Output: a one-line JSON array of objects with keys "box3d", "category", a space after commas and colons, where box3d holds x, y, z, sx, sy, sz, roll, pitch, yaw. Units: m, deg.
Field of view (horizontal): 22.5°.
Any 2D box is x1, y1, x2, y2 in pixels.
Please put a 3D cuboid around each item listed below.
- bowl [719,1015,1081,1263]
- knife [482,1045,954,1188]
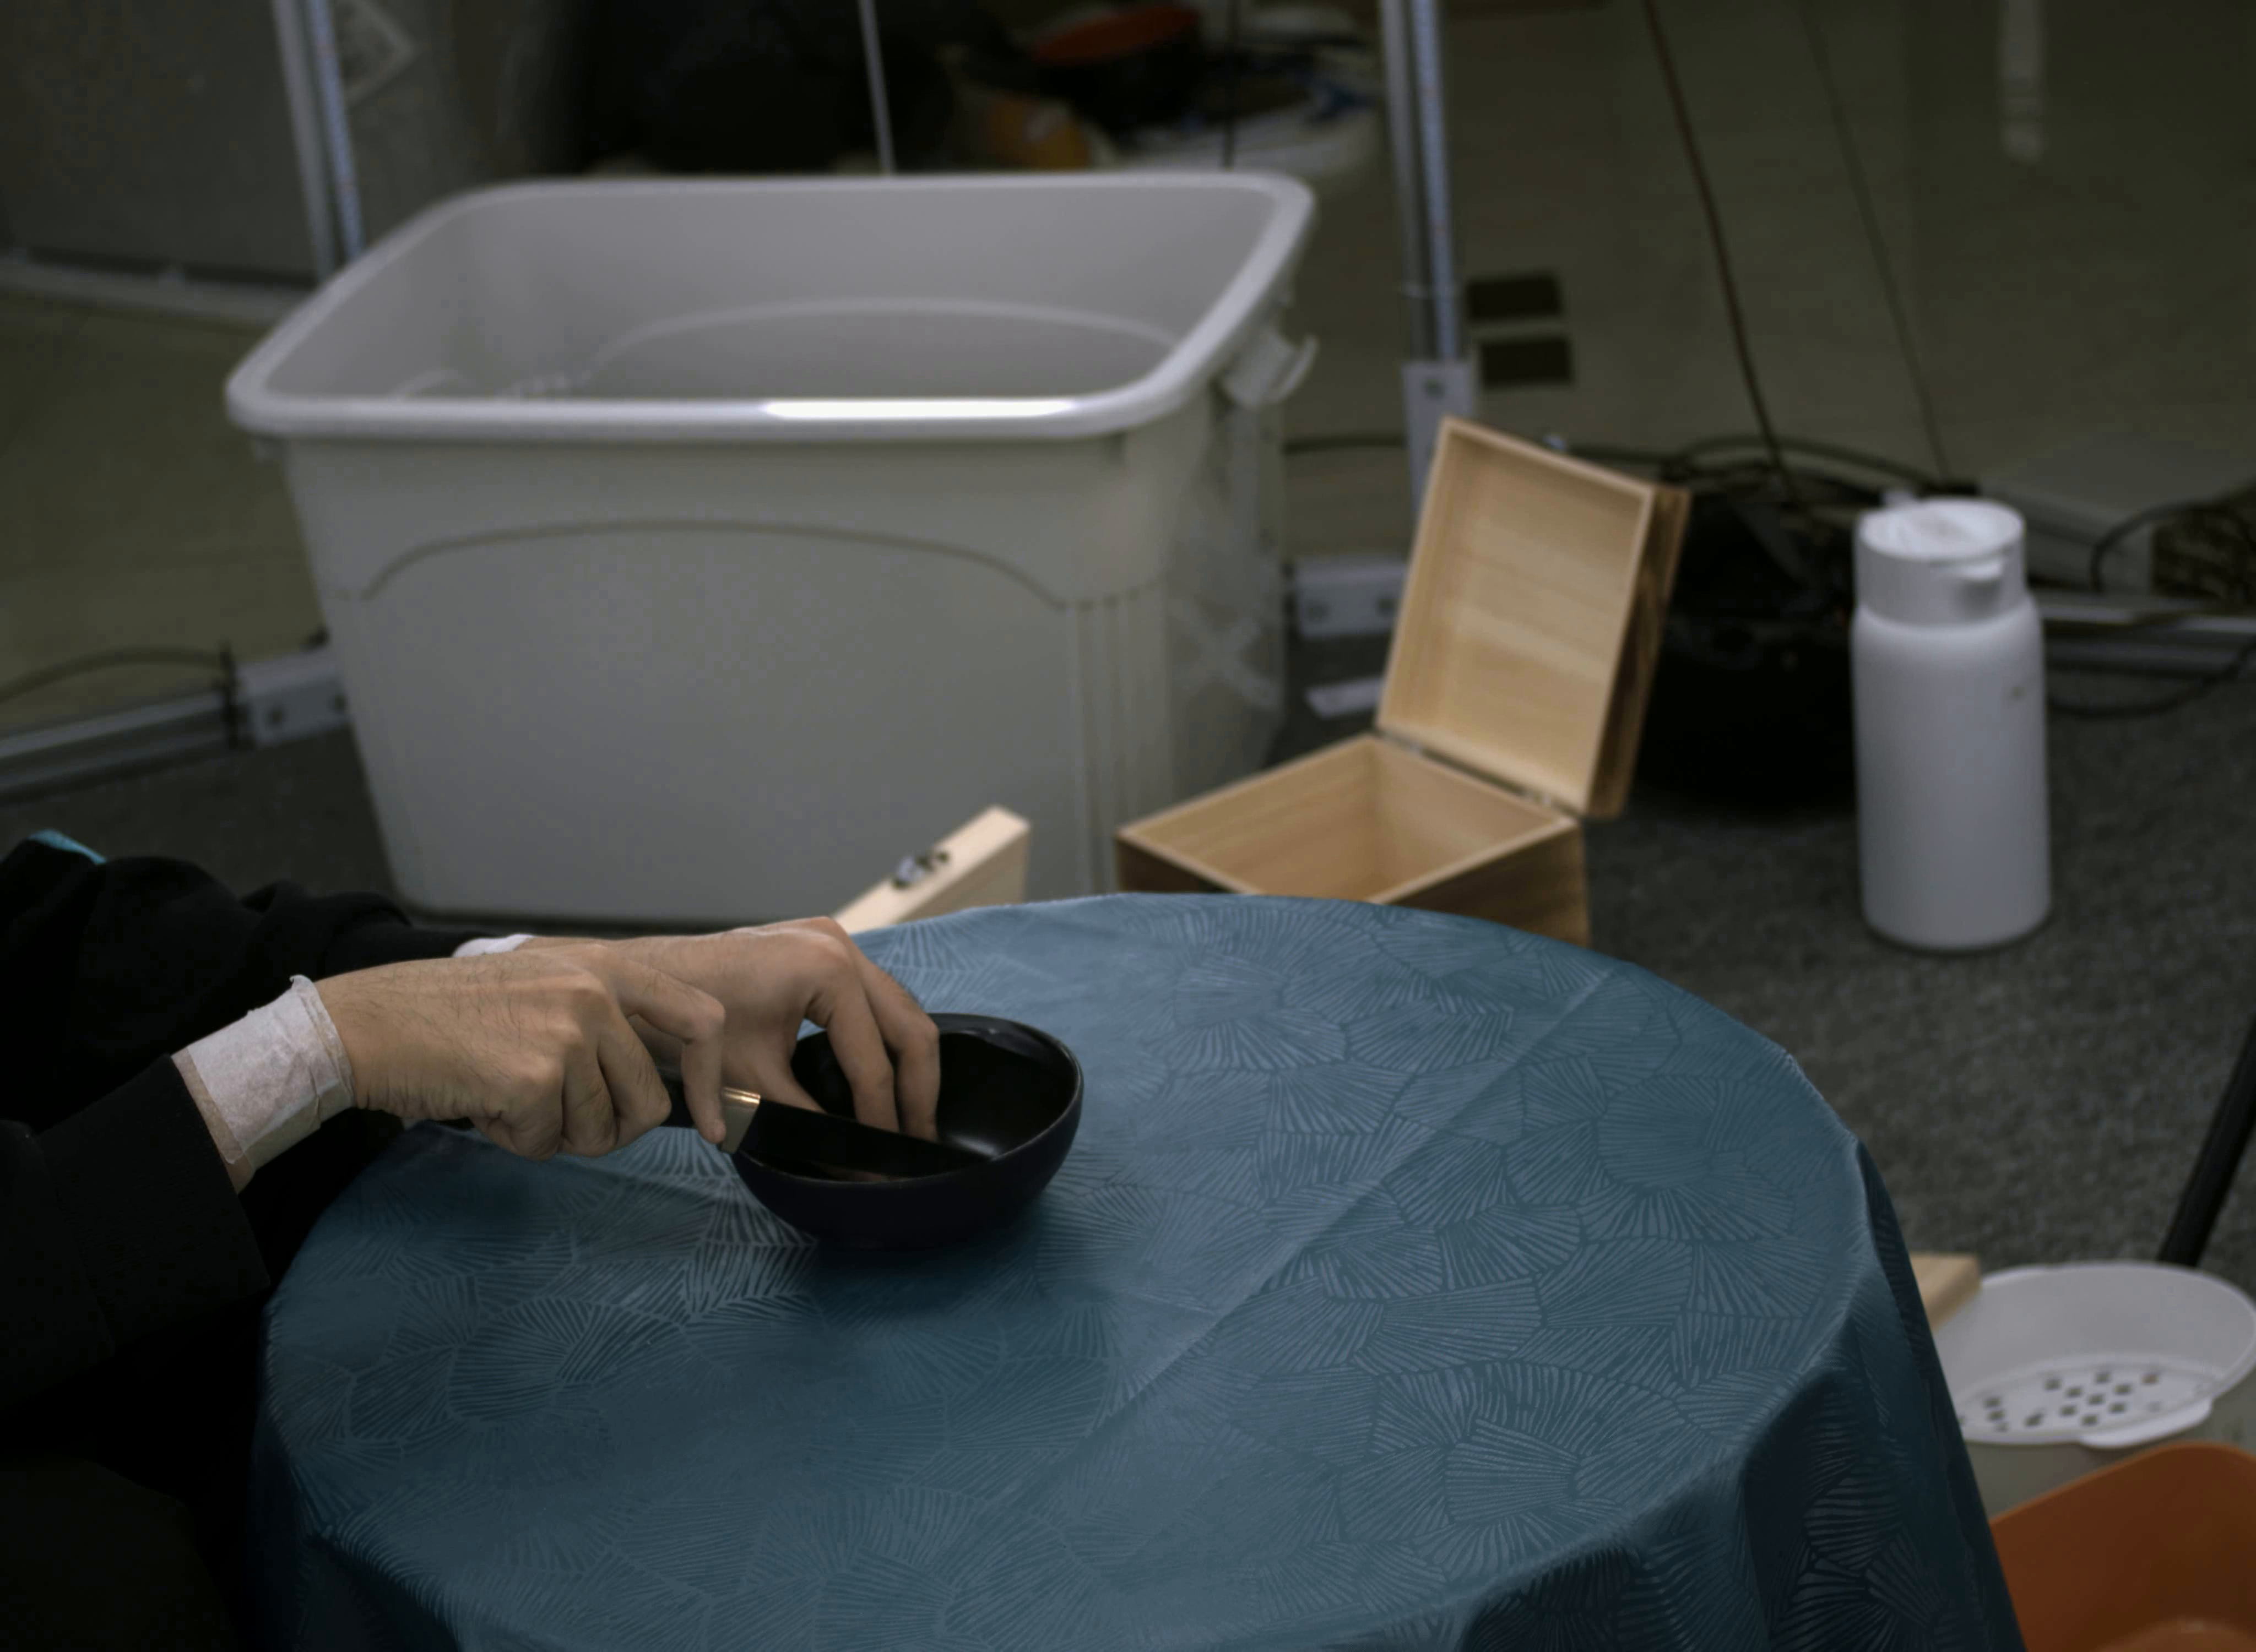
[{"box3d": [-0.083, 0.126, 2.143, 0.140, 0.050, 0.138, -9, 27, 5], "category": "bowl"}, {"box3d": [-0.139, 0.112, 2.086, 0.226, 0.026, 0.017, 16, 22, -31], "category": "knife"}]
